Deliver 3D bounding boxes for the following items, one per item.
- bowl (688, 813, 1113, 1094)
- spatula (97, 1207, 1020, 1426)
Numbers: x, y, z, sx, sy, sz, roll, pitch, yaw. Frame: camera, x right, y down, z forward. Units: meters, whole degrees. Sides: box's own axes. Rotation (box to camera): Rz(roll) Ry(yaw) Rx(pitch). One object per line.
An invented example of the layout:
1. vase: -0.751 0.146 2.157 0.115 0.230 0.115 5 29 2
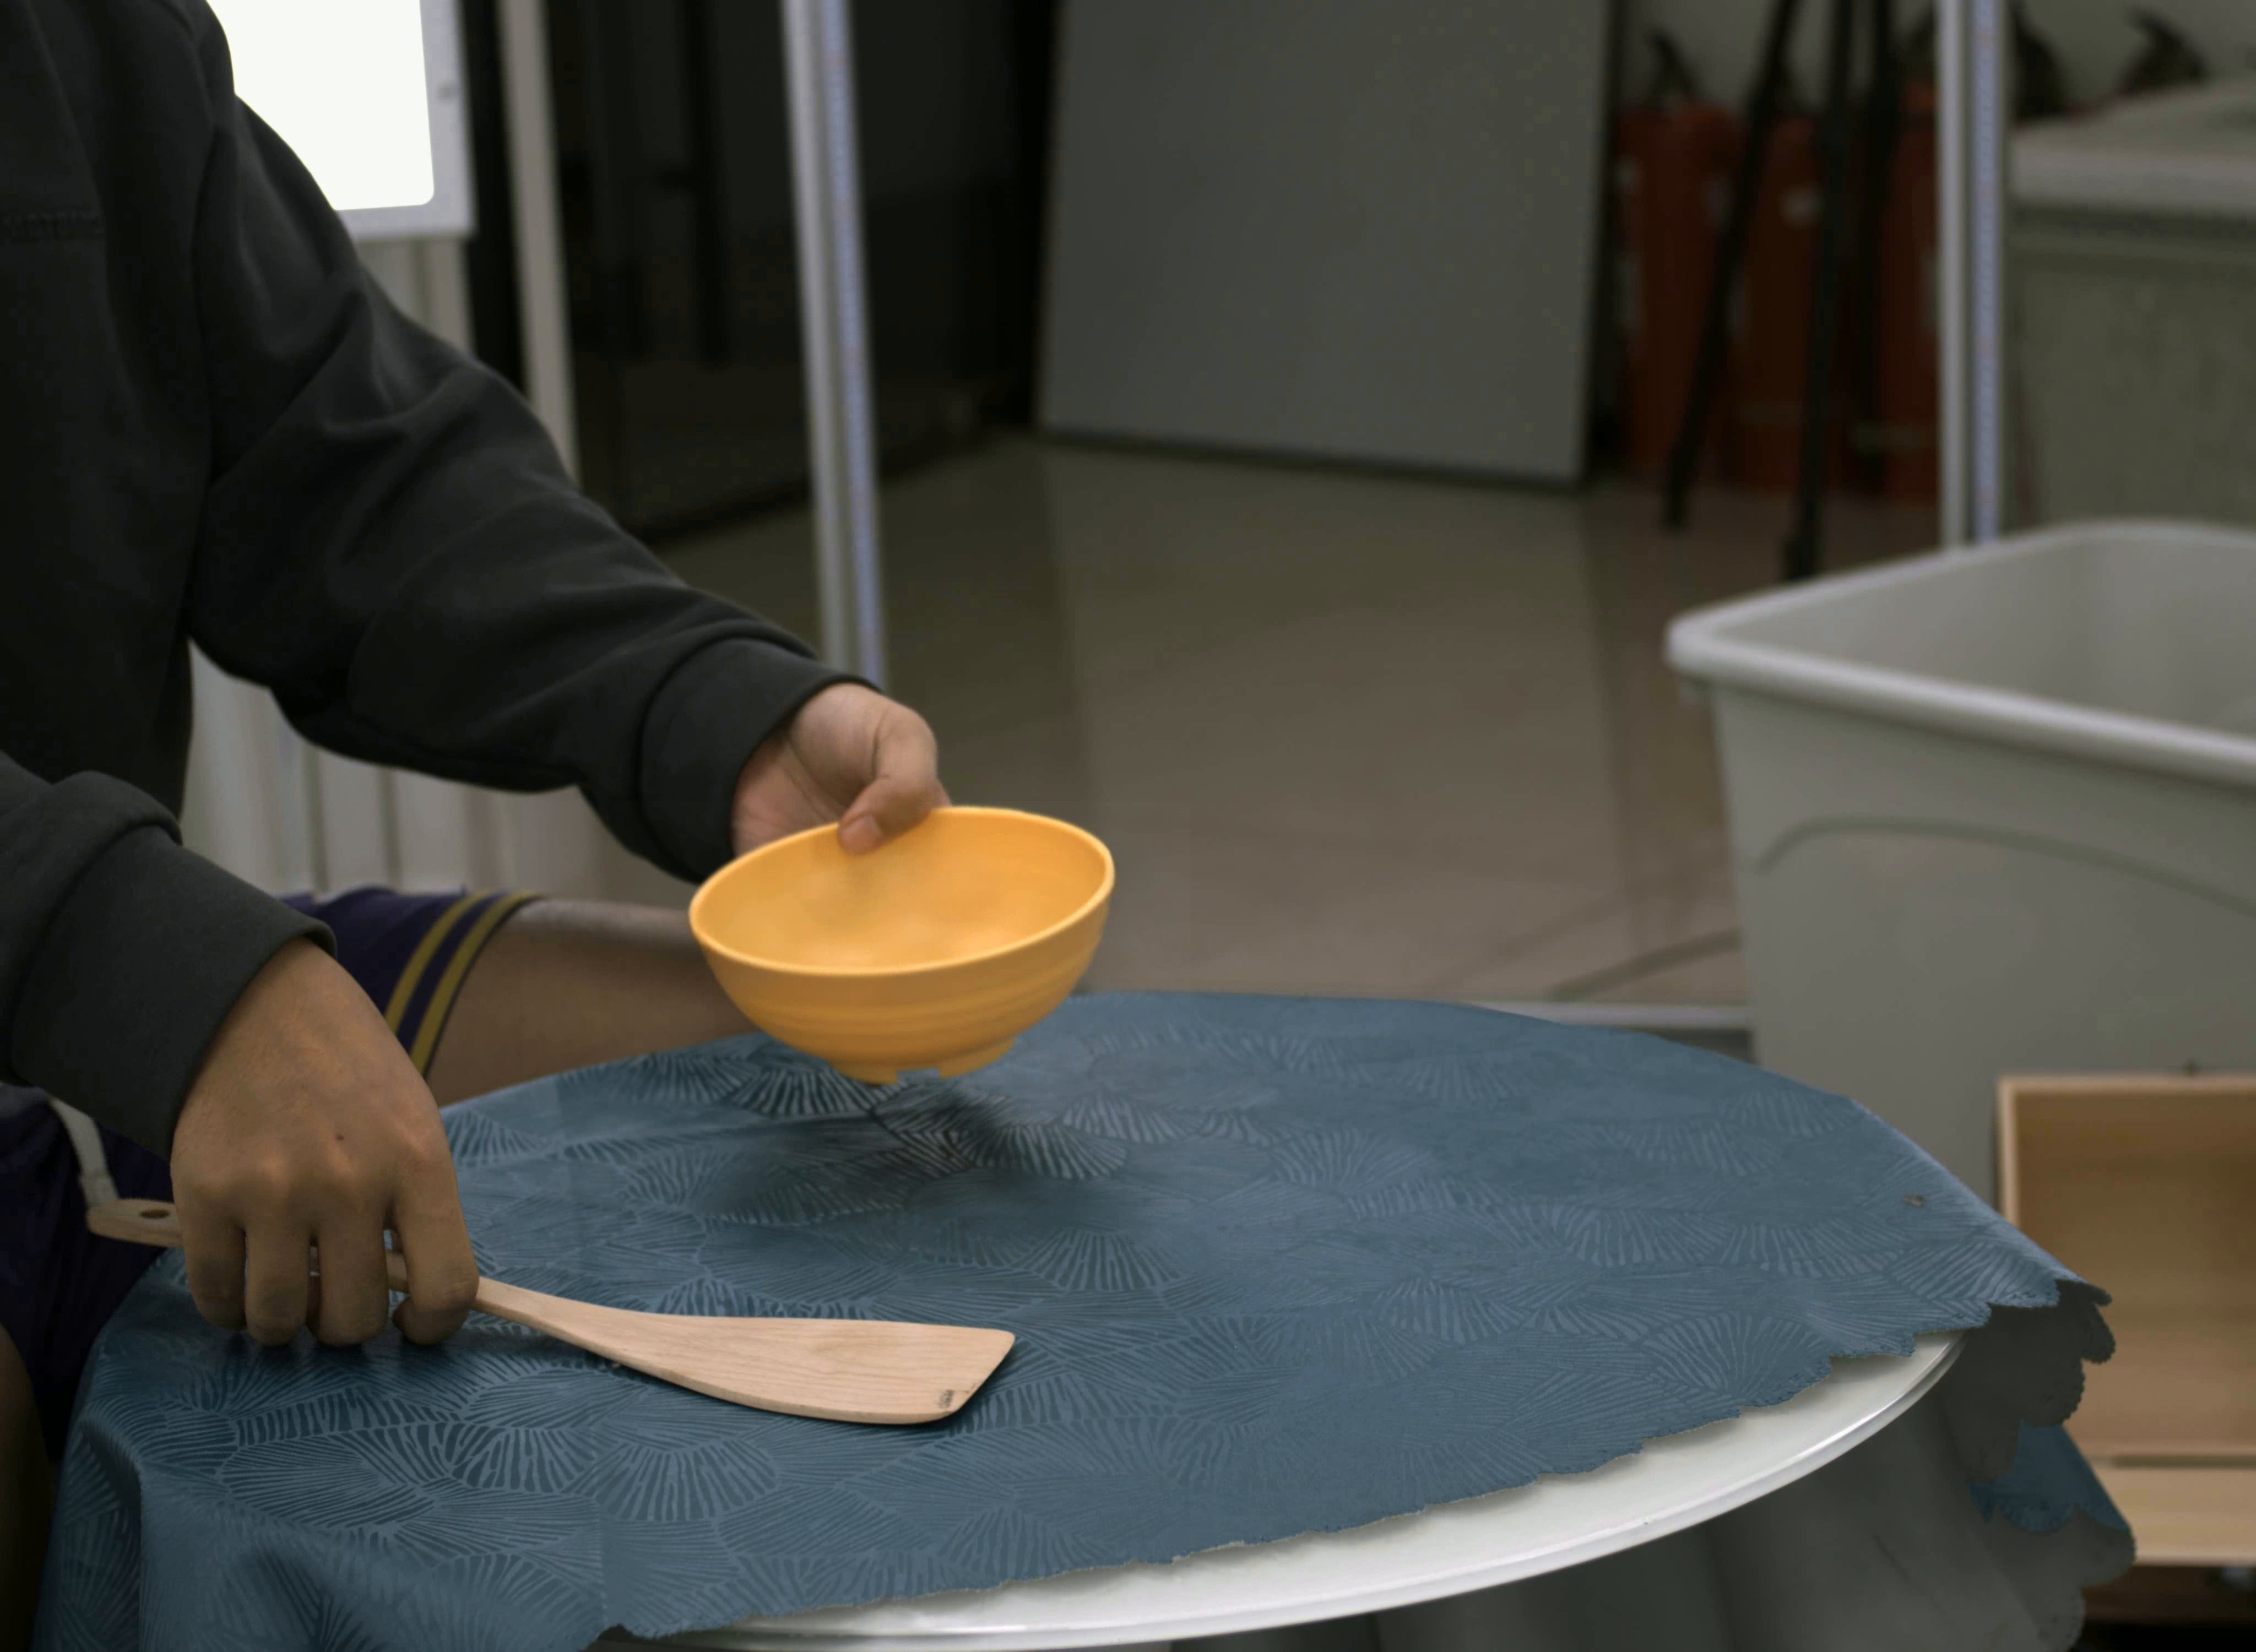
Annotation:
1. bowl: -0.074 0.049 1.817 0.143 0.060 0.146 -5 21 1
2. spatula: -0.180 0.145 1.661 0.328 0.017 0.079 9 18 26
